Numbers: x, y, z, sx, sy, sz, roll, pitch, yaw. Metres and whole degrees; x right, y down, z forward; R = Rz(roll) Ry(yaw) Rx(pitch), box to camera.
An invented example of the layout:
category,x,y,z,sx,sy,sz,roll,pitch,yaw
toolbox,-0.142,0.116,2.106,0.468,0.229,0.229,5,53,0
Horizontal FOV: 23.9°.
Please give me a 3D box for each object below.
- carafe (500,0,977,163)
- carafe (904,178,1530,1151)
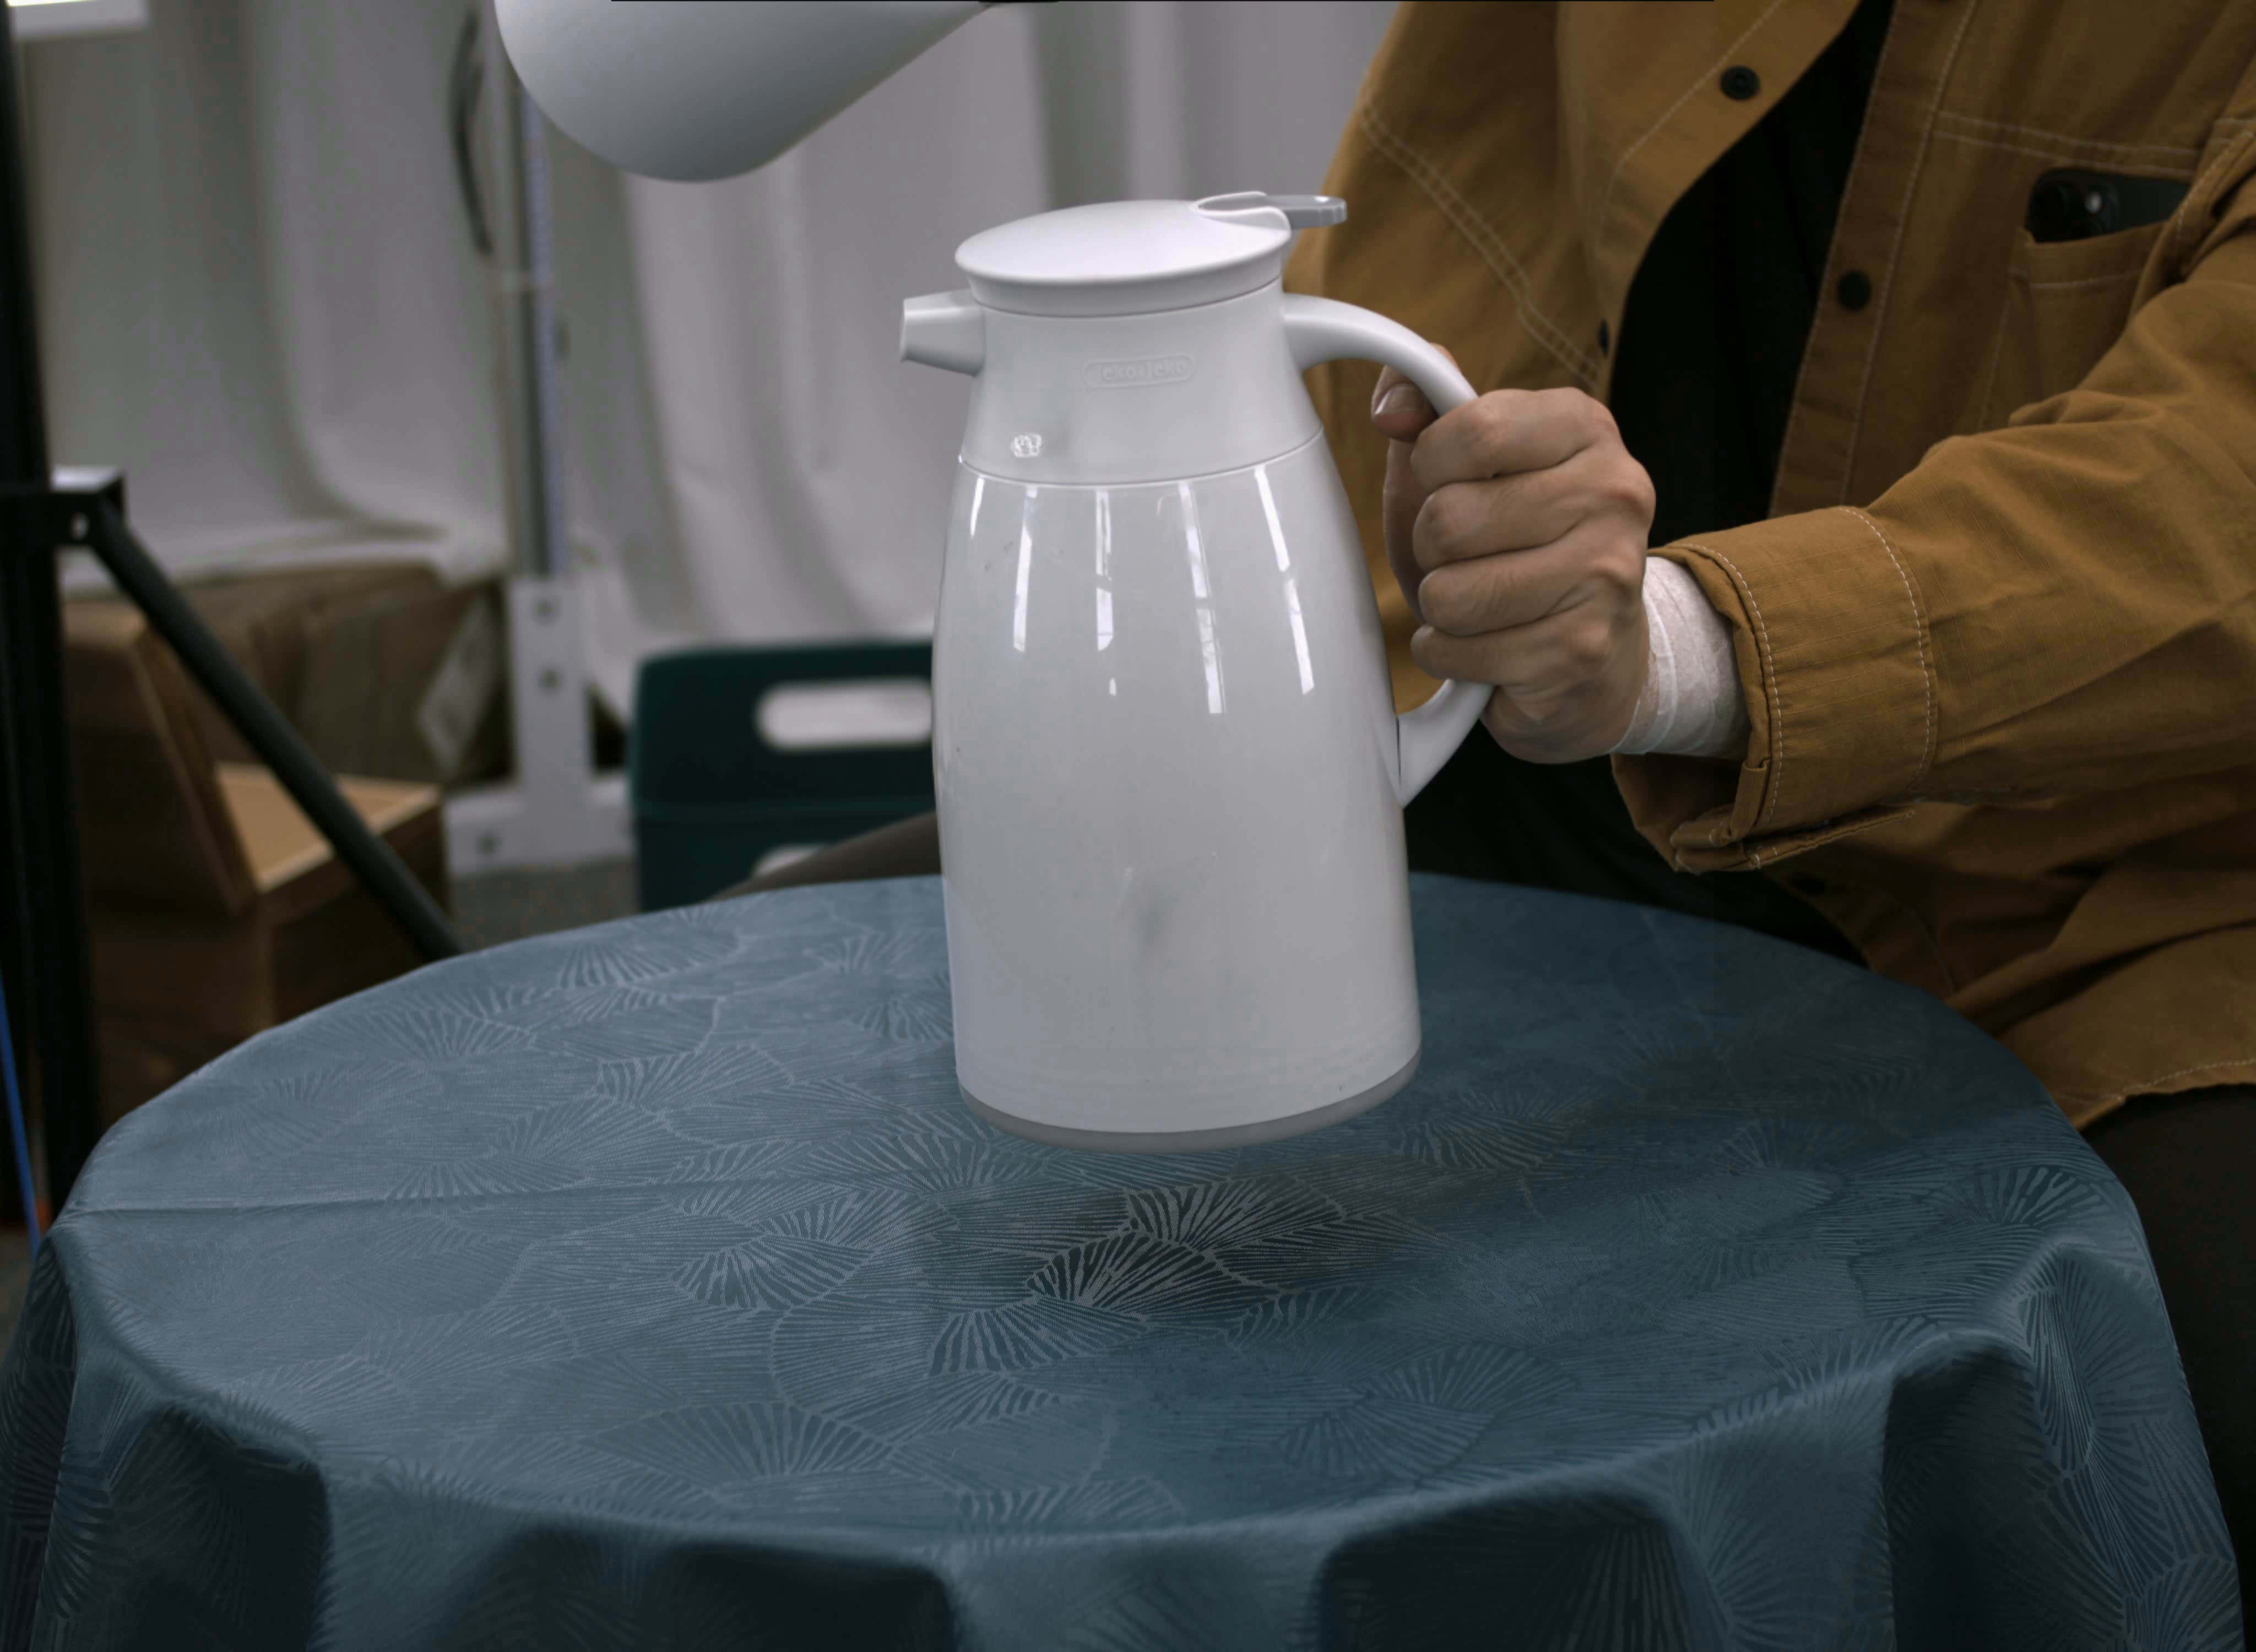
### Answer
category,x,y,z,sx,sy,sz,roll,pitch,yaw
carafe,-0.098,-0.293,1.547,0.122,0.173,0.272,-28,4,-23
carafe,0.028,-0.051,1.463,0.167,0.248,0.133,-4,17,-1
